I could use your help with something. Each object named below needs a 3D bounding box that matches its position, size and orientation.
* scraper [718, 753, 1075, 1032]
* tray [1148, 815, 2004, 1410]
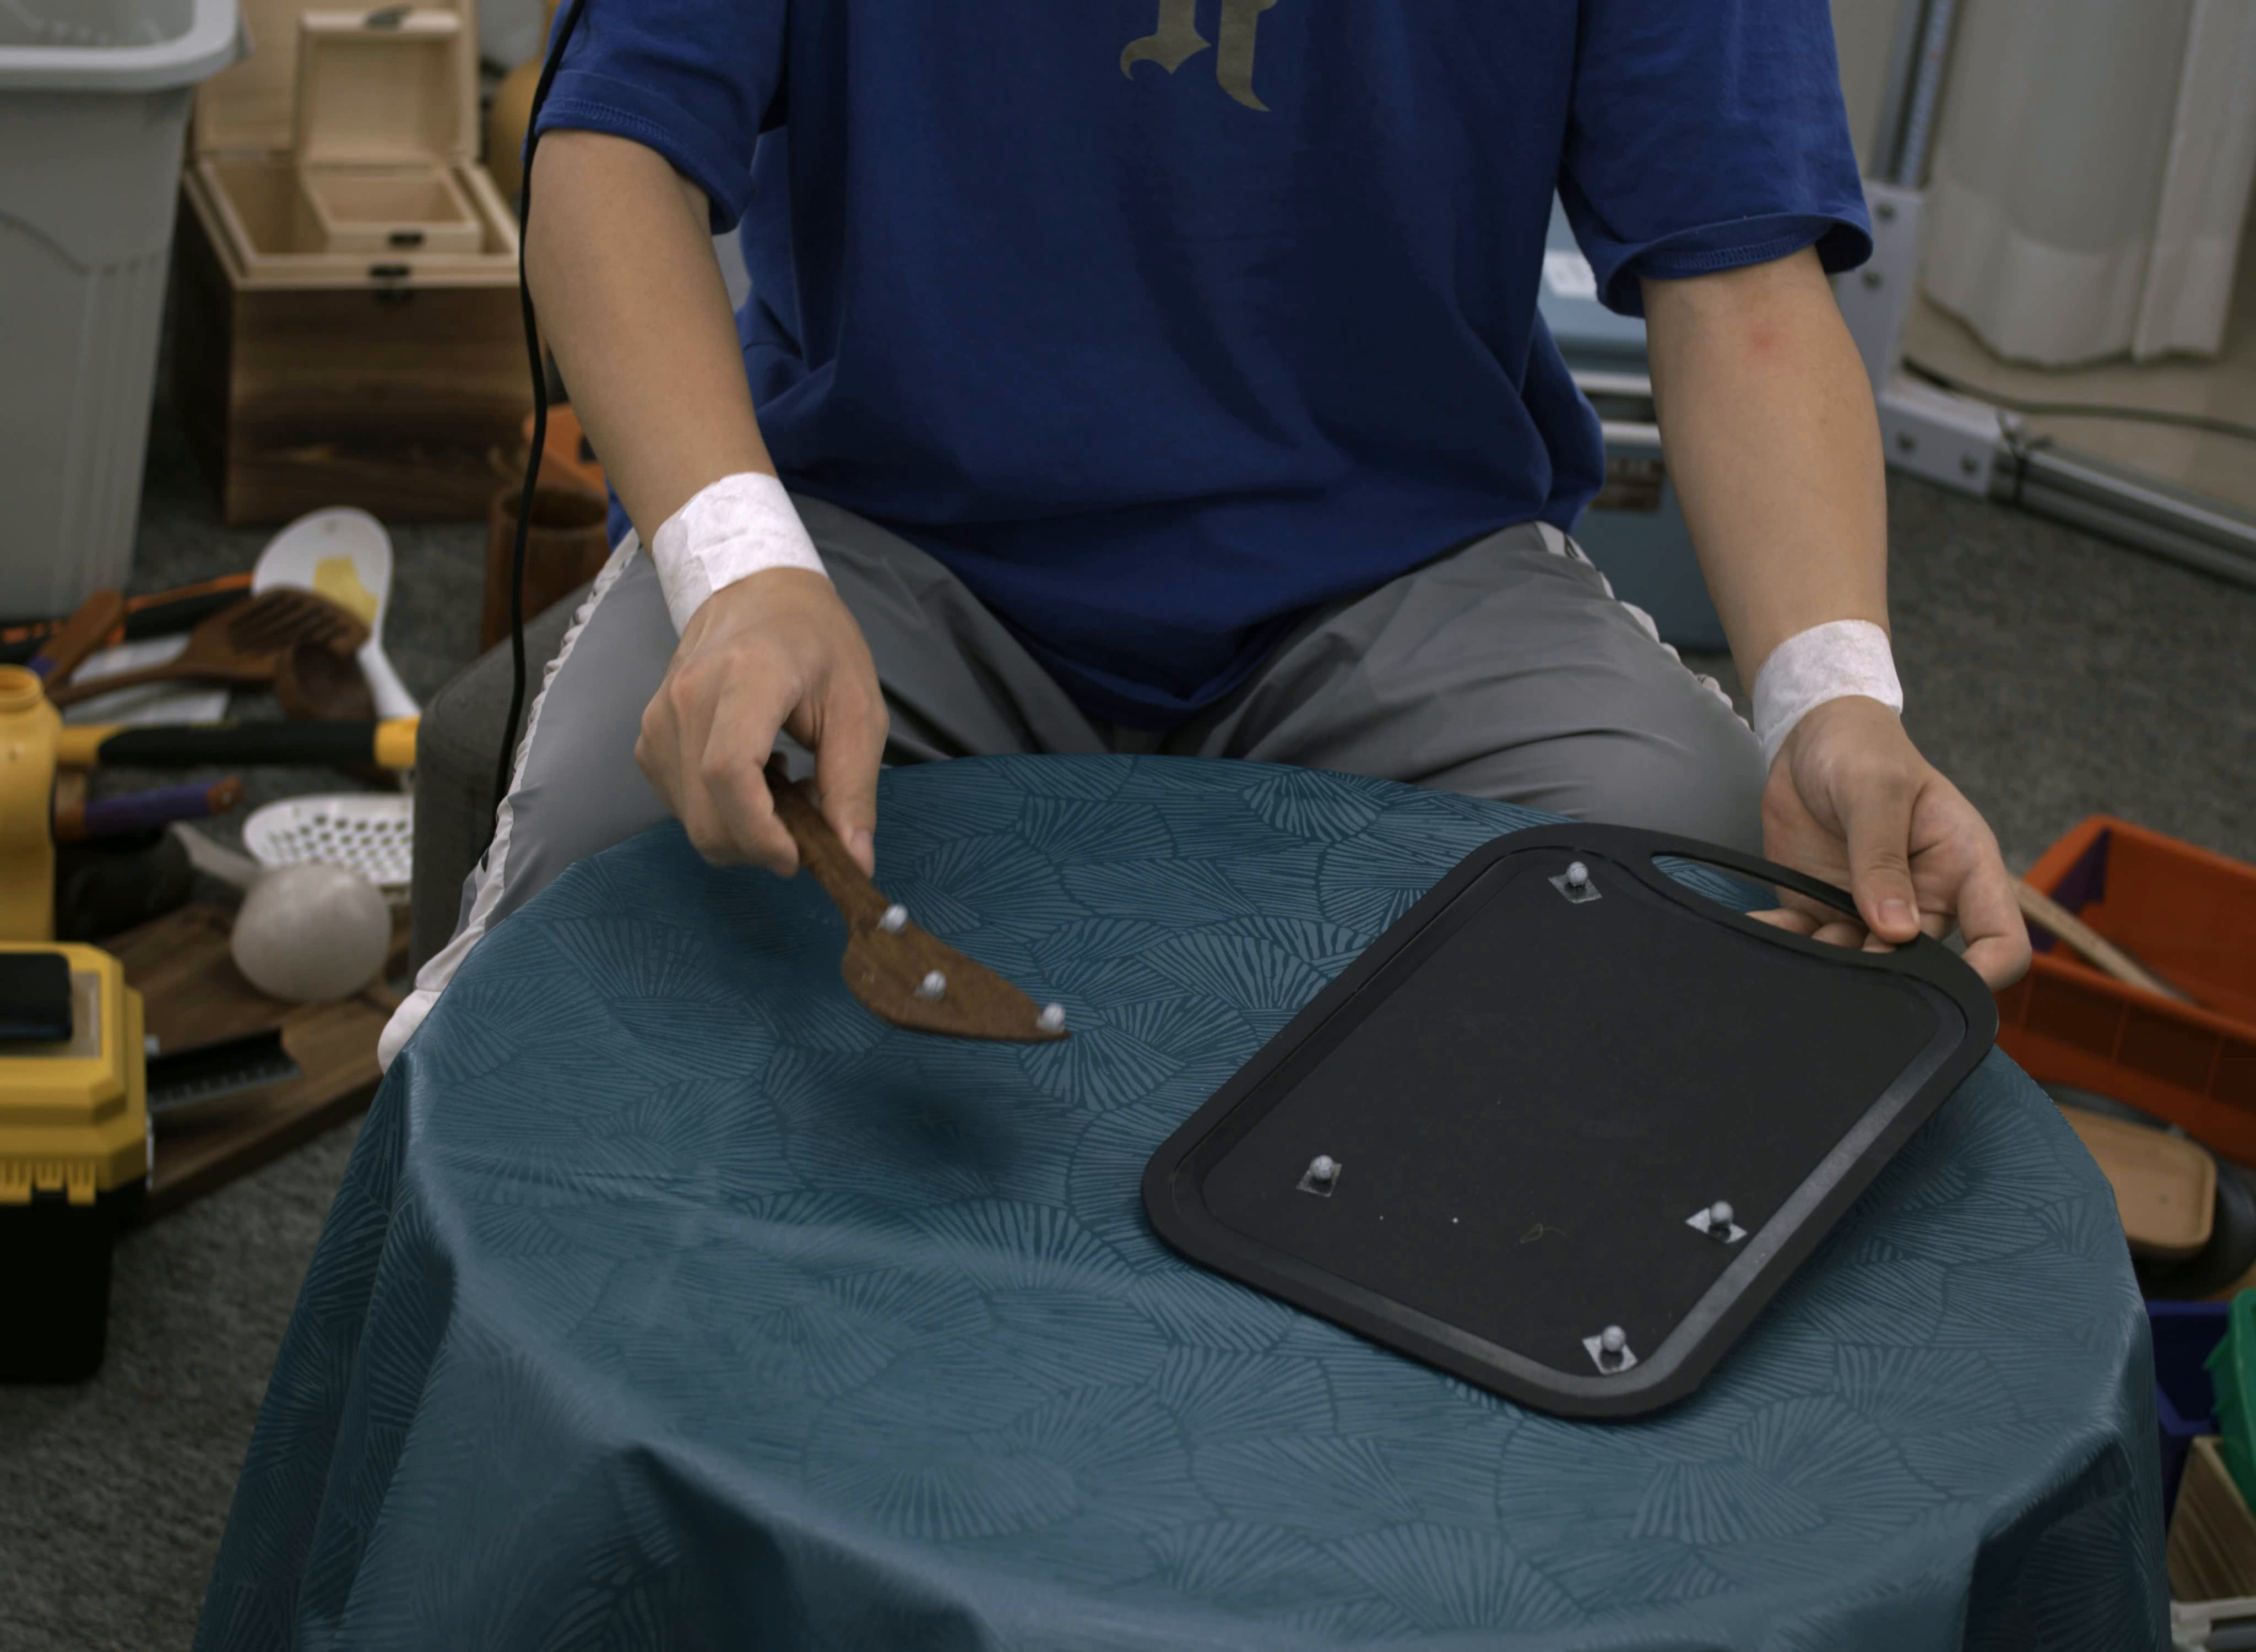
[{"bbox_3d":[-0.093,0.022,1.862,0.075,0.011,0.213,8,22,-33],"label":"scraper"},{"bbox_3d":[0.163,0.086,1.847,0.212,0.010,0.325,21,39,26],"label":"tray"}]
